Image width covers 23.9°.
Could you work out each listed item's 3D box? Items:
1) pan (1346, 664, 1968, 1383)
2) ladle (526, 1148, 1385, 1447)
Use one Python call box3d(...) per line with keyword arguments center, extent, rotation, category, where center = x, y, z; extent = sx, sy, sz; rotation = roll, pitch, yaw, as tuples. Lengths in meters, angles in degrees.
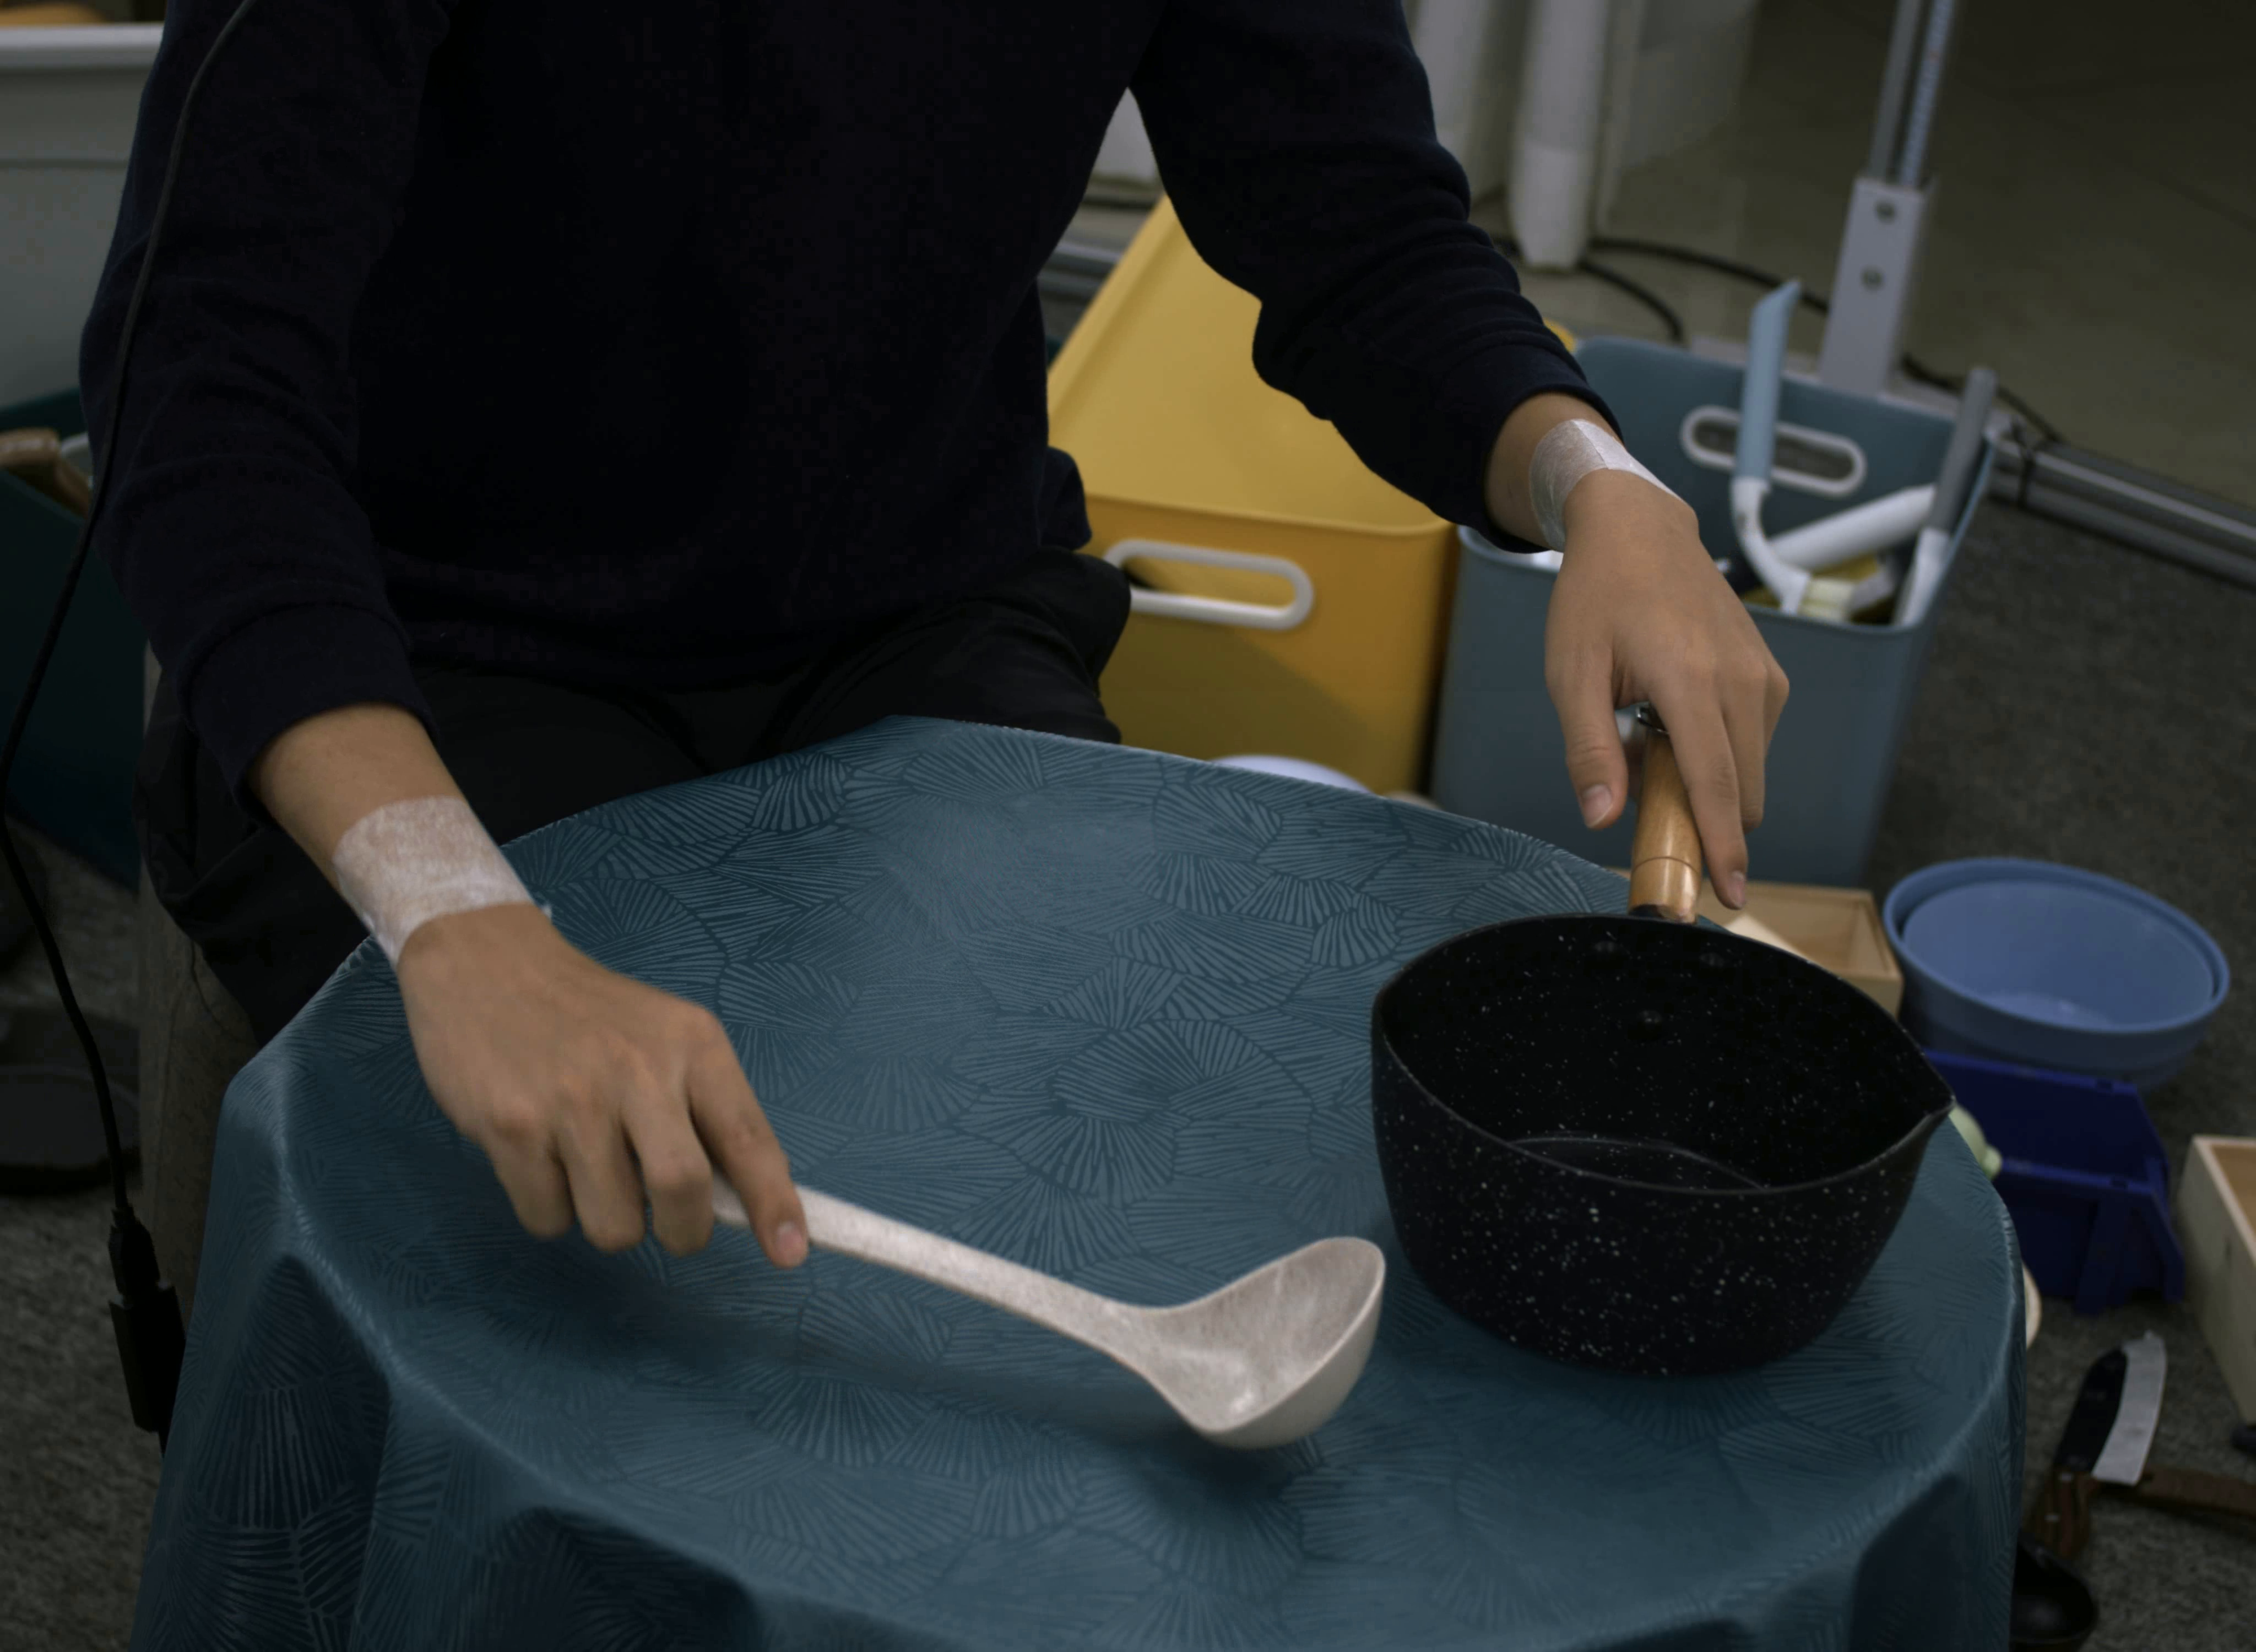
box3d(center=(0.180, 0.064, 1.841), extent=(0.207, 0.108, 0.344), rotation=(7, 28, 3), category="pan")
box3d(center=(-0.055, 0.125, 1.670), extent=(0.274, 0.069, 0.089), rotation=(18, 34, 5), category="ladle")
